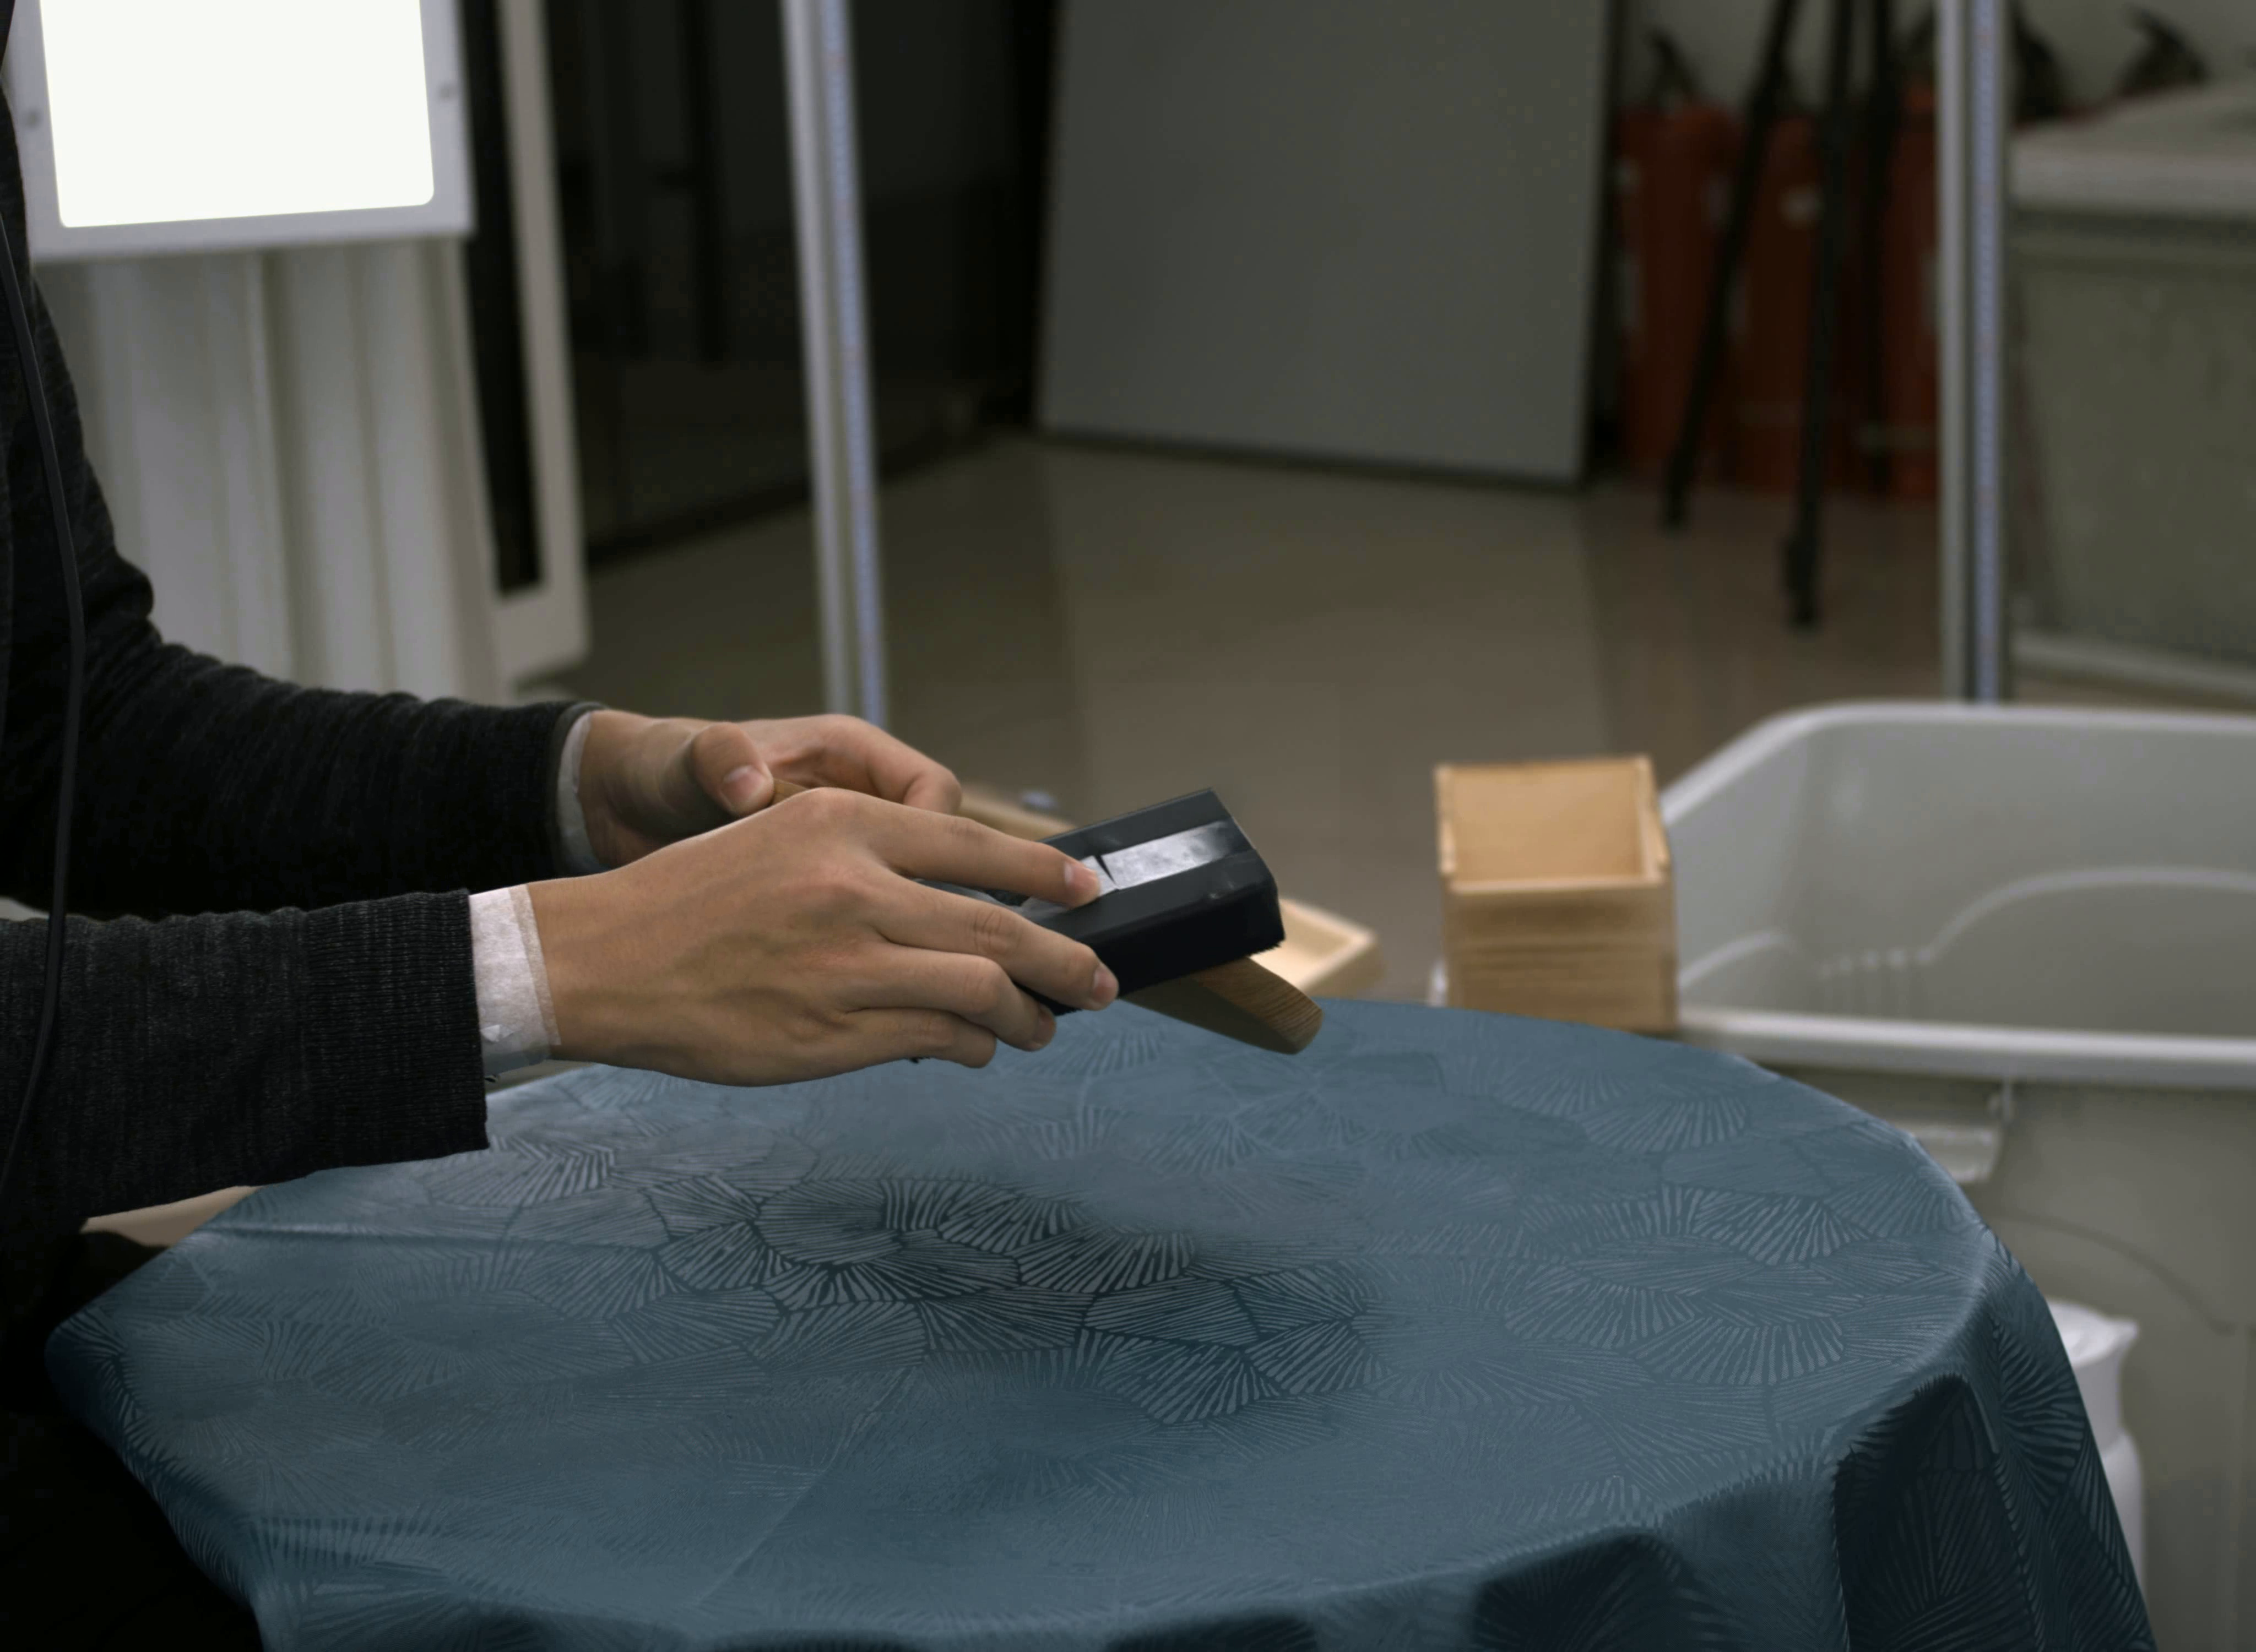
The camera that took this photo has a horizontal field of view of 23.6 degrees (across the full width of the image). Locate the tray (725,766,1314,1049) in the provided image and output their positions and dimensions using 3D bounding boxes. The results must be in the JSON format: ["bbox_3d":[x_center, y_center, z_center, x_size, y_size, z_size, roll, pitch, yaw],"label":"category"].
[{"bbox_3d":[-0.038,0.026,1.721,0.233,0.020,0.100,17,-14,39],"label":"tray"}]

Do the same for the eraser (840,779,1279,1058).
[{"bbox_3d":[-0.020,0.026,1.609,0.123,0.030,0.054,-19,42,-17],"label":"eraser"}]
